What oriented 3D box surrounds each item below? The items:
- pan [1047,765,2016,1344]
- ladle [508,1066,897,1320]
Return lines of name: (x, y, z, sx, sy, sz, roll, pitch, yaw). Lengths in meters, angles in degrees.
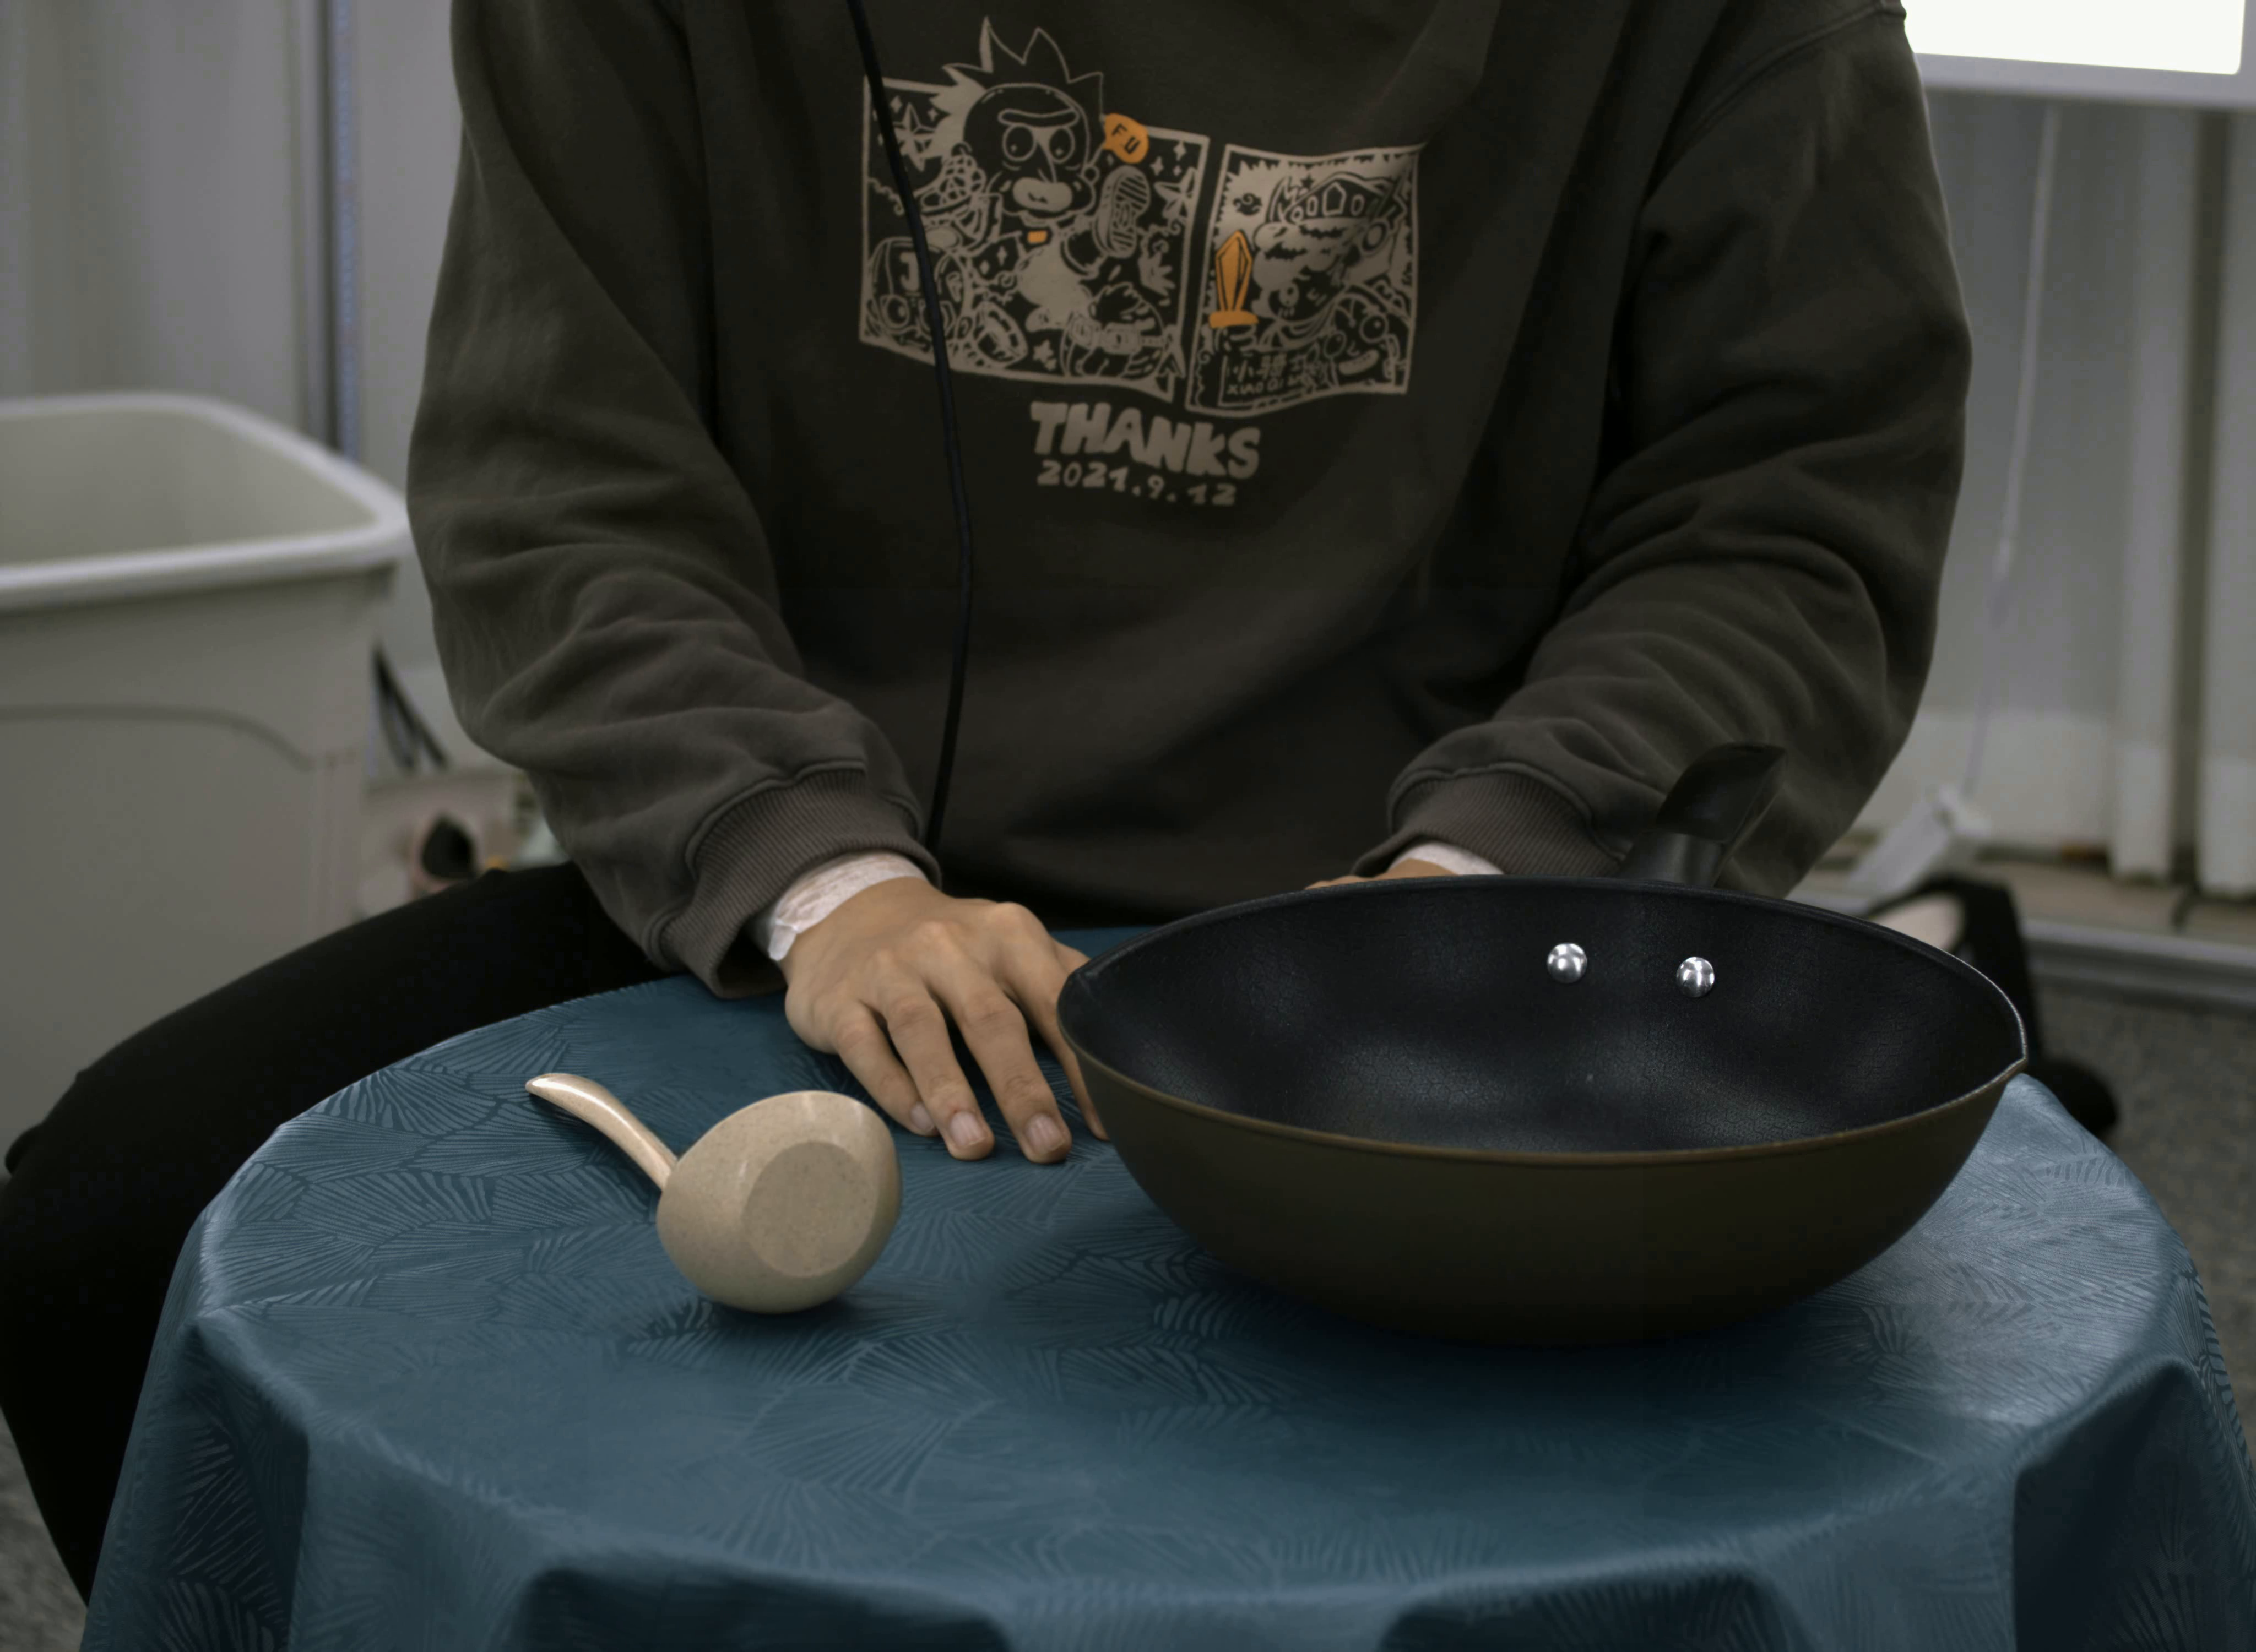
pan: (0.145, 0.068, 1.642, 0.285, 0.087, 0.463, 5, 15, 17)
ladle: (-0.144, 0.082, 1.599, 0.072, 0.073, 0.251, -13, 21, -23)
